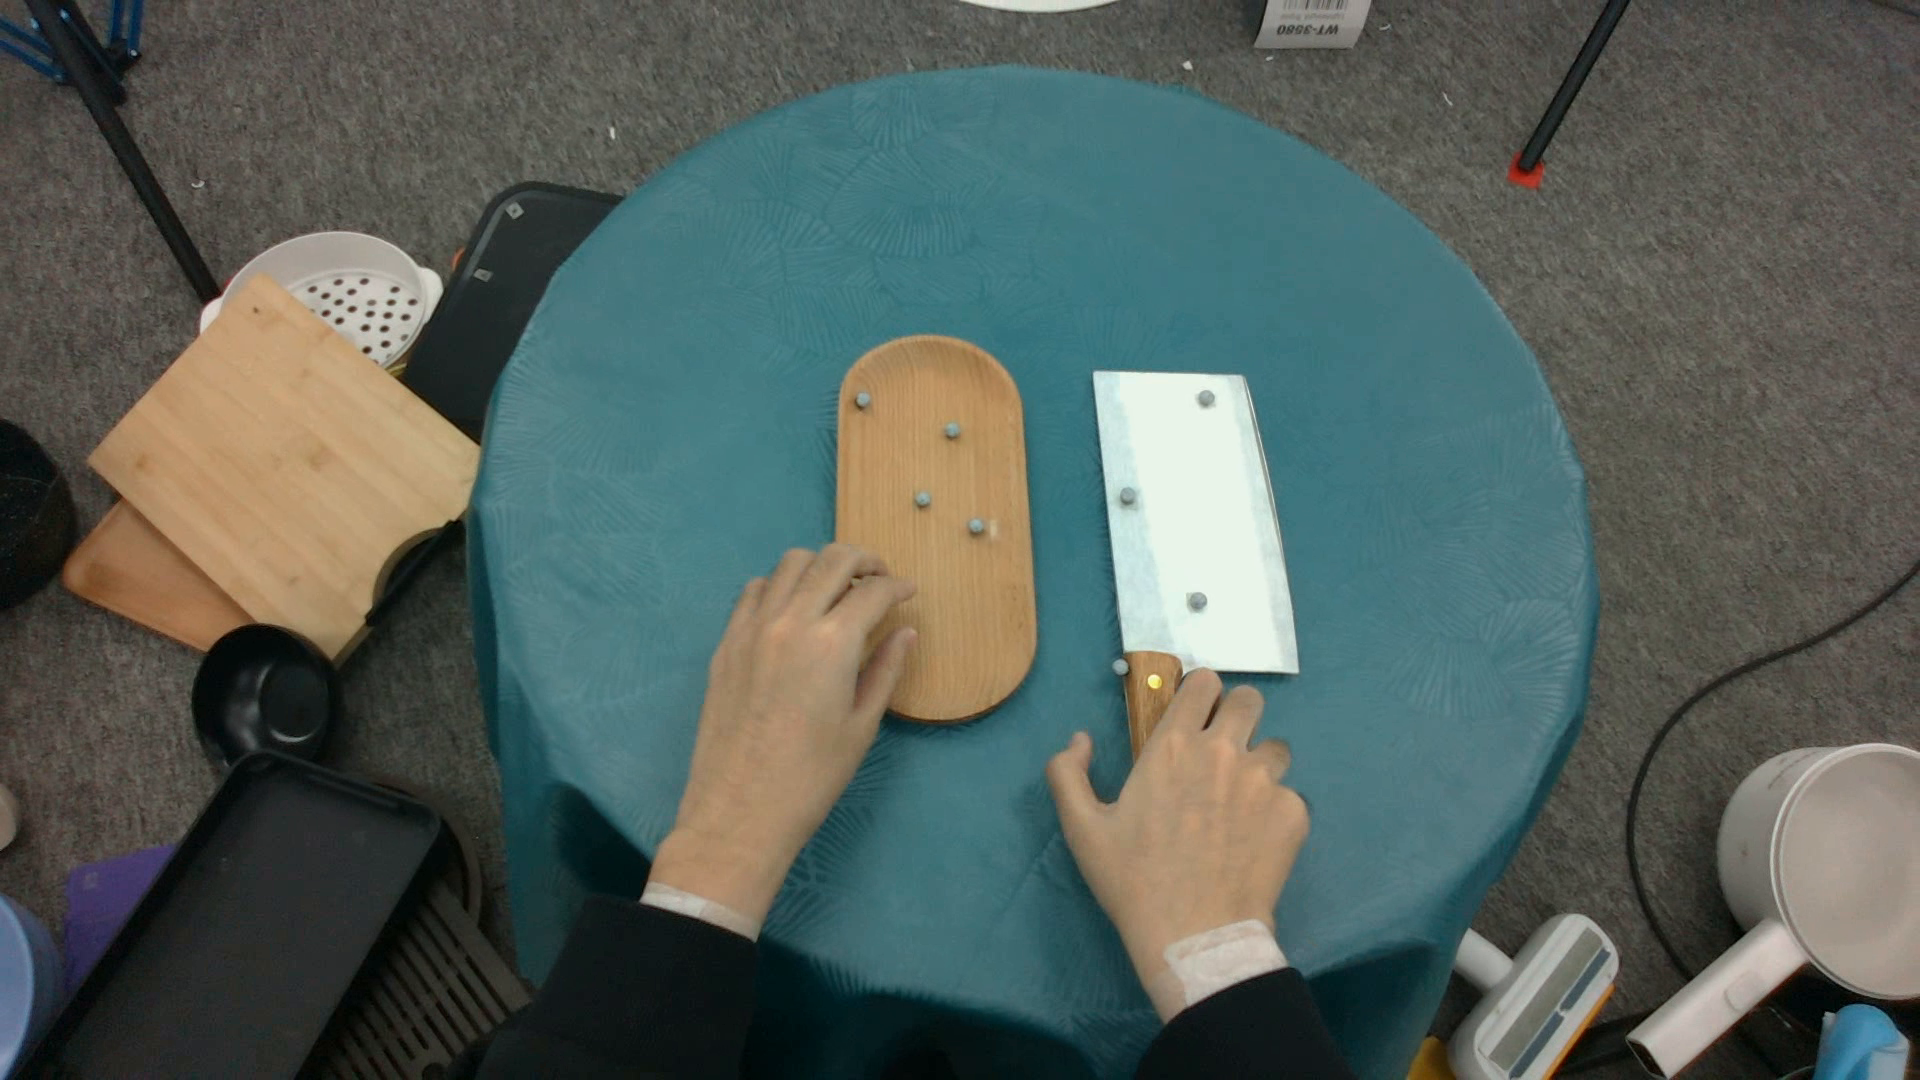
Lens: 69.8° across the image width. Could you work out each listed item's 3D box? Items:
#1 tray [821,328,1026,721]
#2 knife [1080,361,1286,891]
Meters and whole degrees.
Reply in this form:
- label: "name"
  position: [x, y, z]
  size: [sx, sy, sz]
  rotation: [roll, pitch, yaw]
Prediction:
- label: "tray"
  position: [-0.020, -0.015, 0.713]
  size: [0.102, 0.020, 0.232]
  rotation: [1, 61, -4]
- label: "knife"
  position: [0.117, 0.028, 0.703]
  size: [0.093, 0.021, 0.307]
  rotation: [2, 58, -7]
